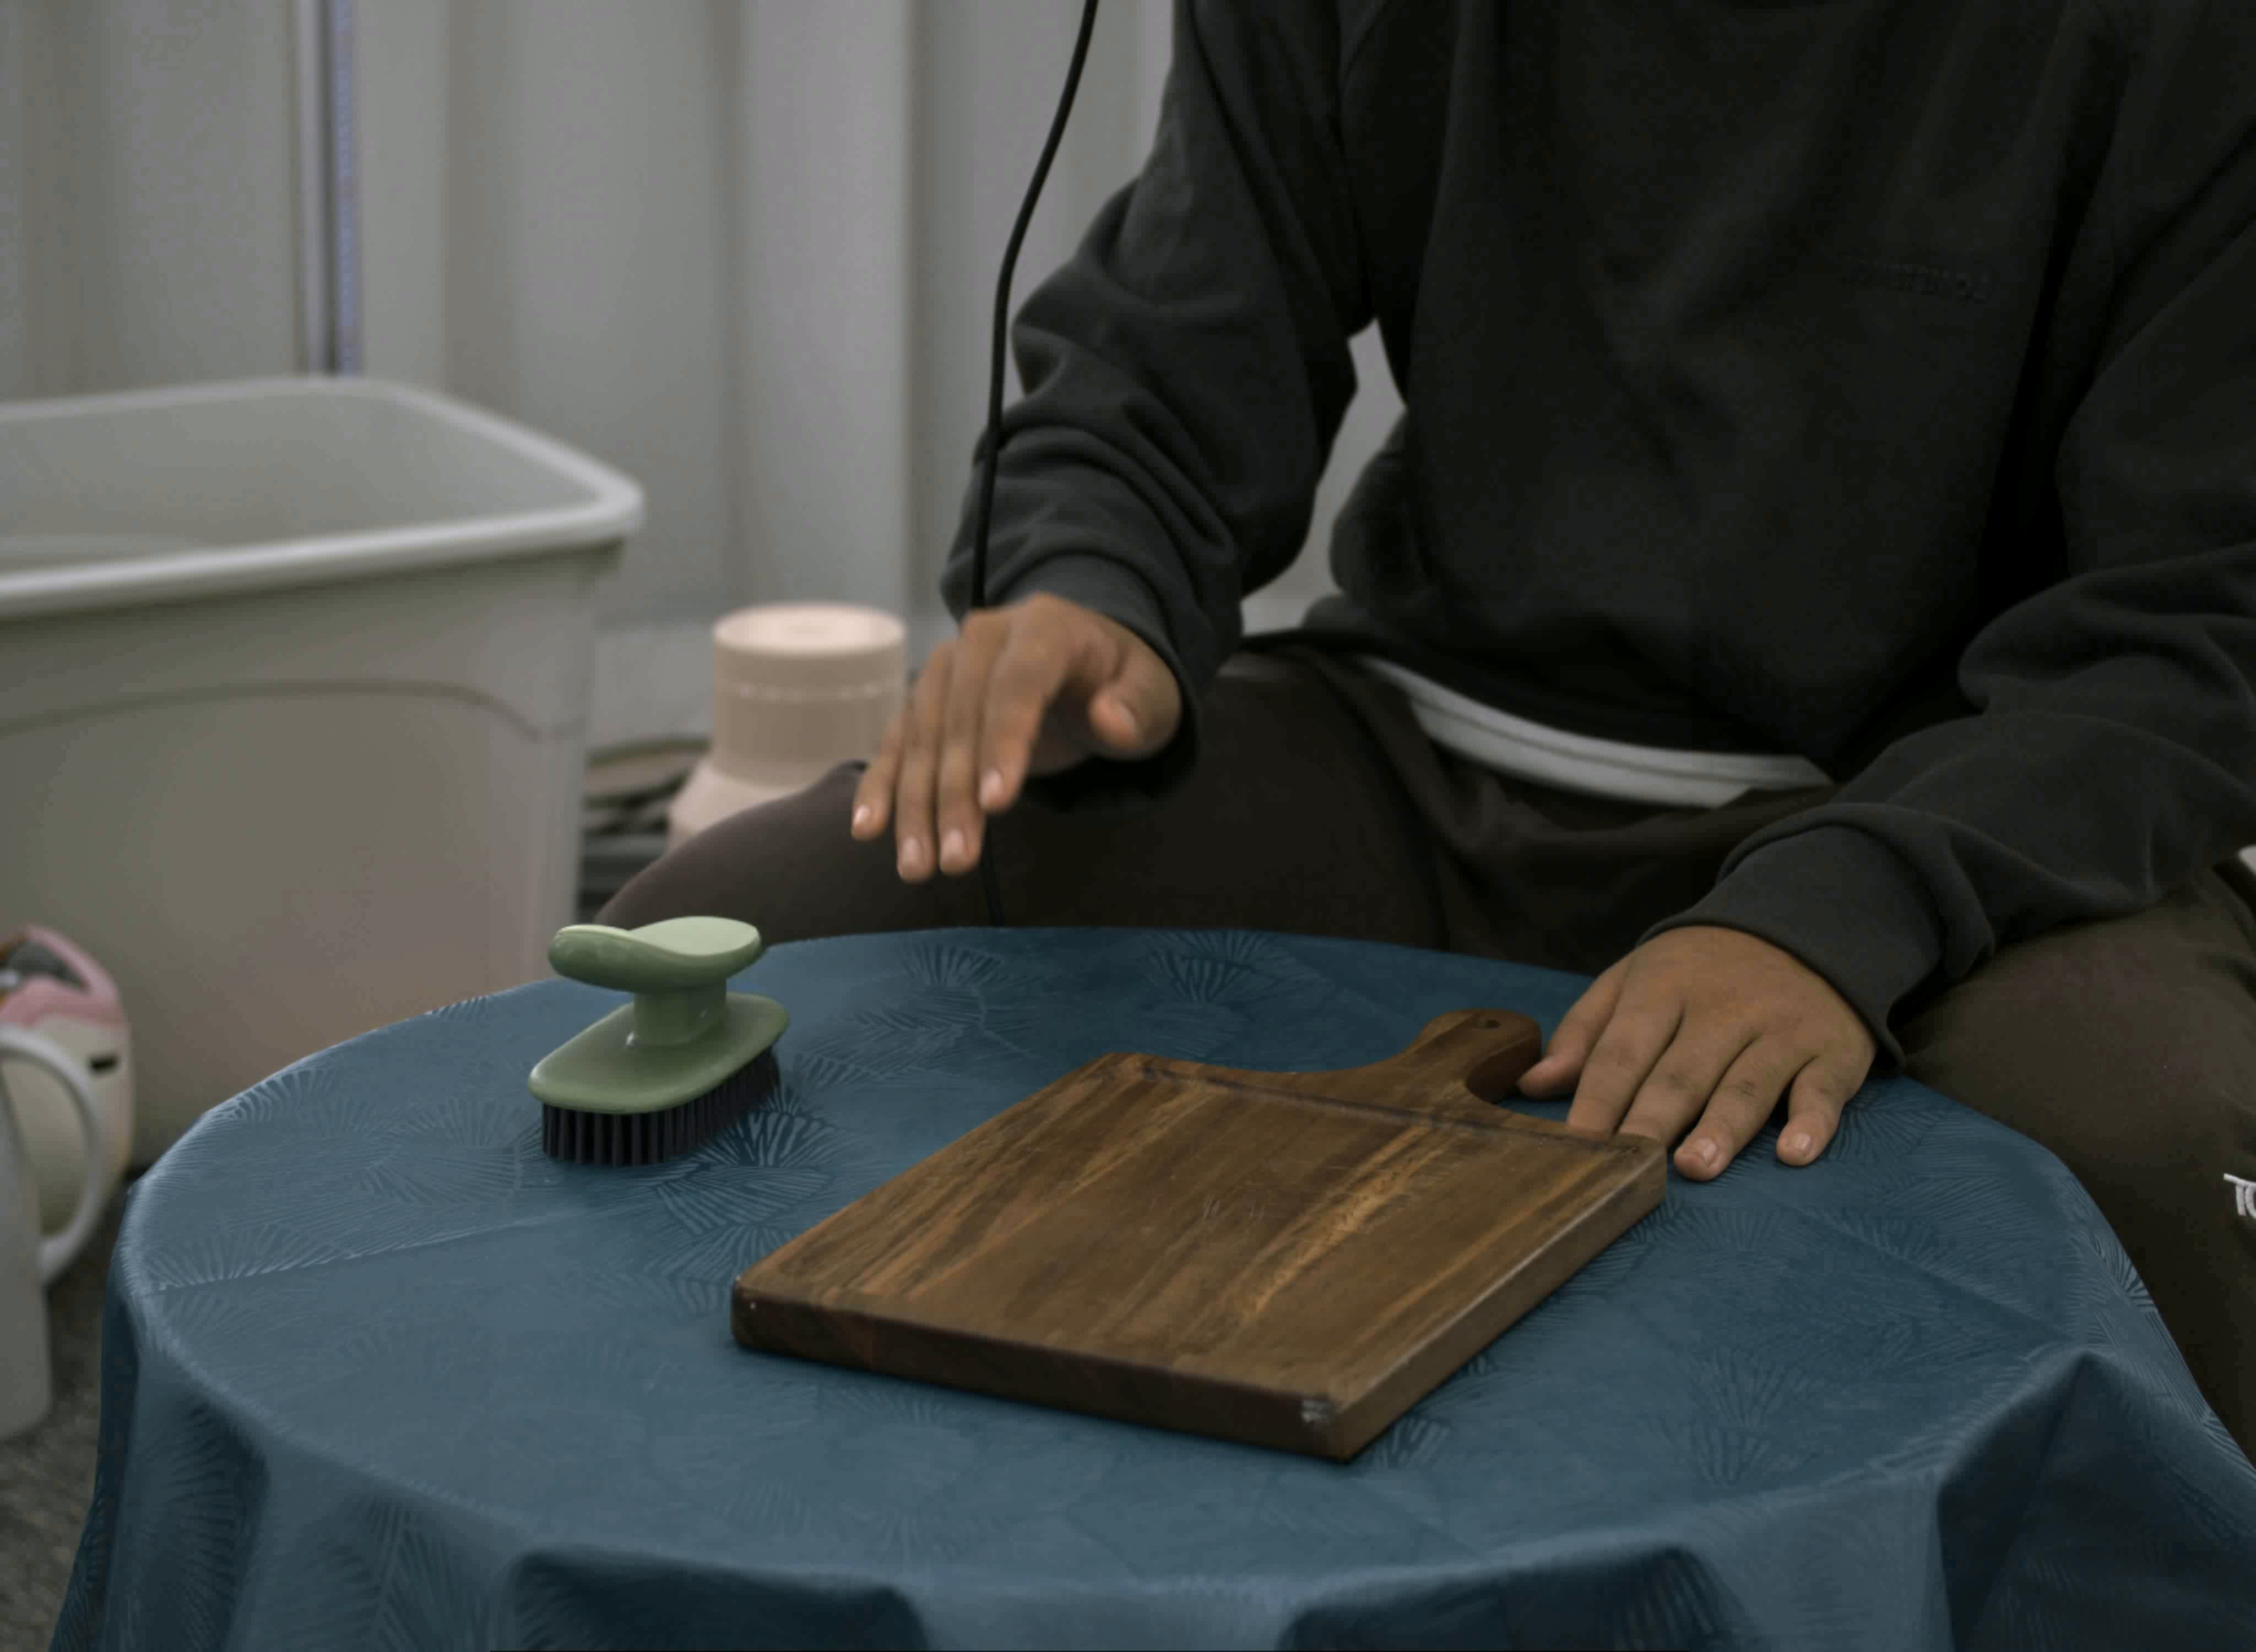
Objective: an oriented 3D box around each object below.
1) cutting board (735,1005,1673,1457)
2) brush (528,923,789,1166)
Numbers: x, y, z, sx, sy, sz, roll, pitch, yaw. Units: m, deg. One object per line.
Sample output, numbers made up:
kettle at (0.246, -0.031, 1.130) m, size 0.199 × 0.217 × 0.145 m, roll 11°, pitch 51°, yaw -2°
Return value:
cutting board at (0.050, 0.110, 1.599) m, size 0.199 × 0.023 × 0.353 m, roll 8°, pitch 17°, yaw 25°
brush at (-0.150, 0.068, 1.683) m, size 0.059 × 0.076 × 0.123 m, roll 6°, pitch 2°, yaw 17°
